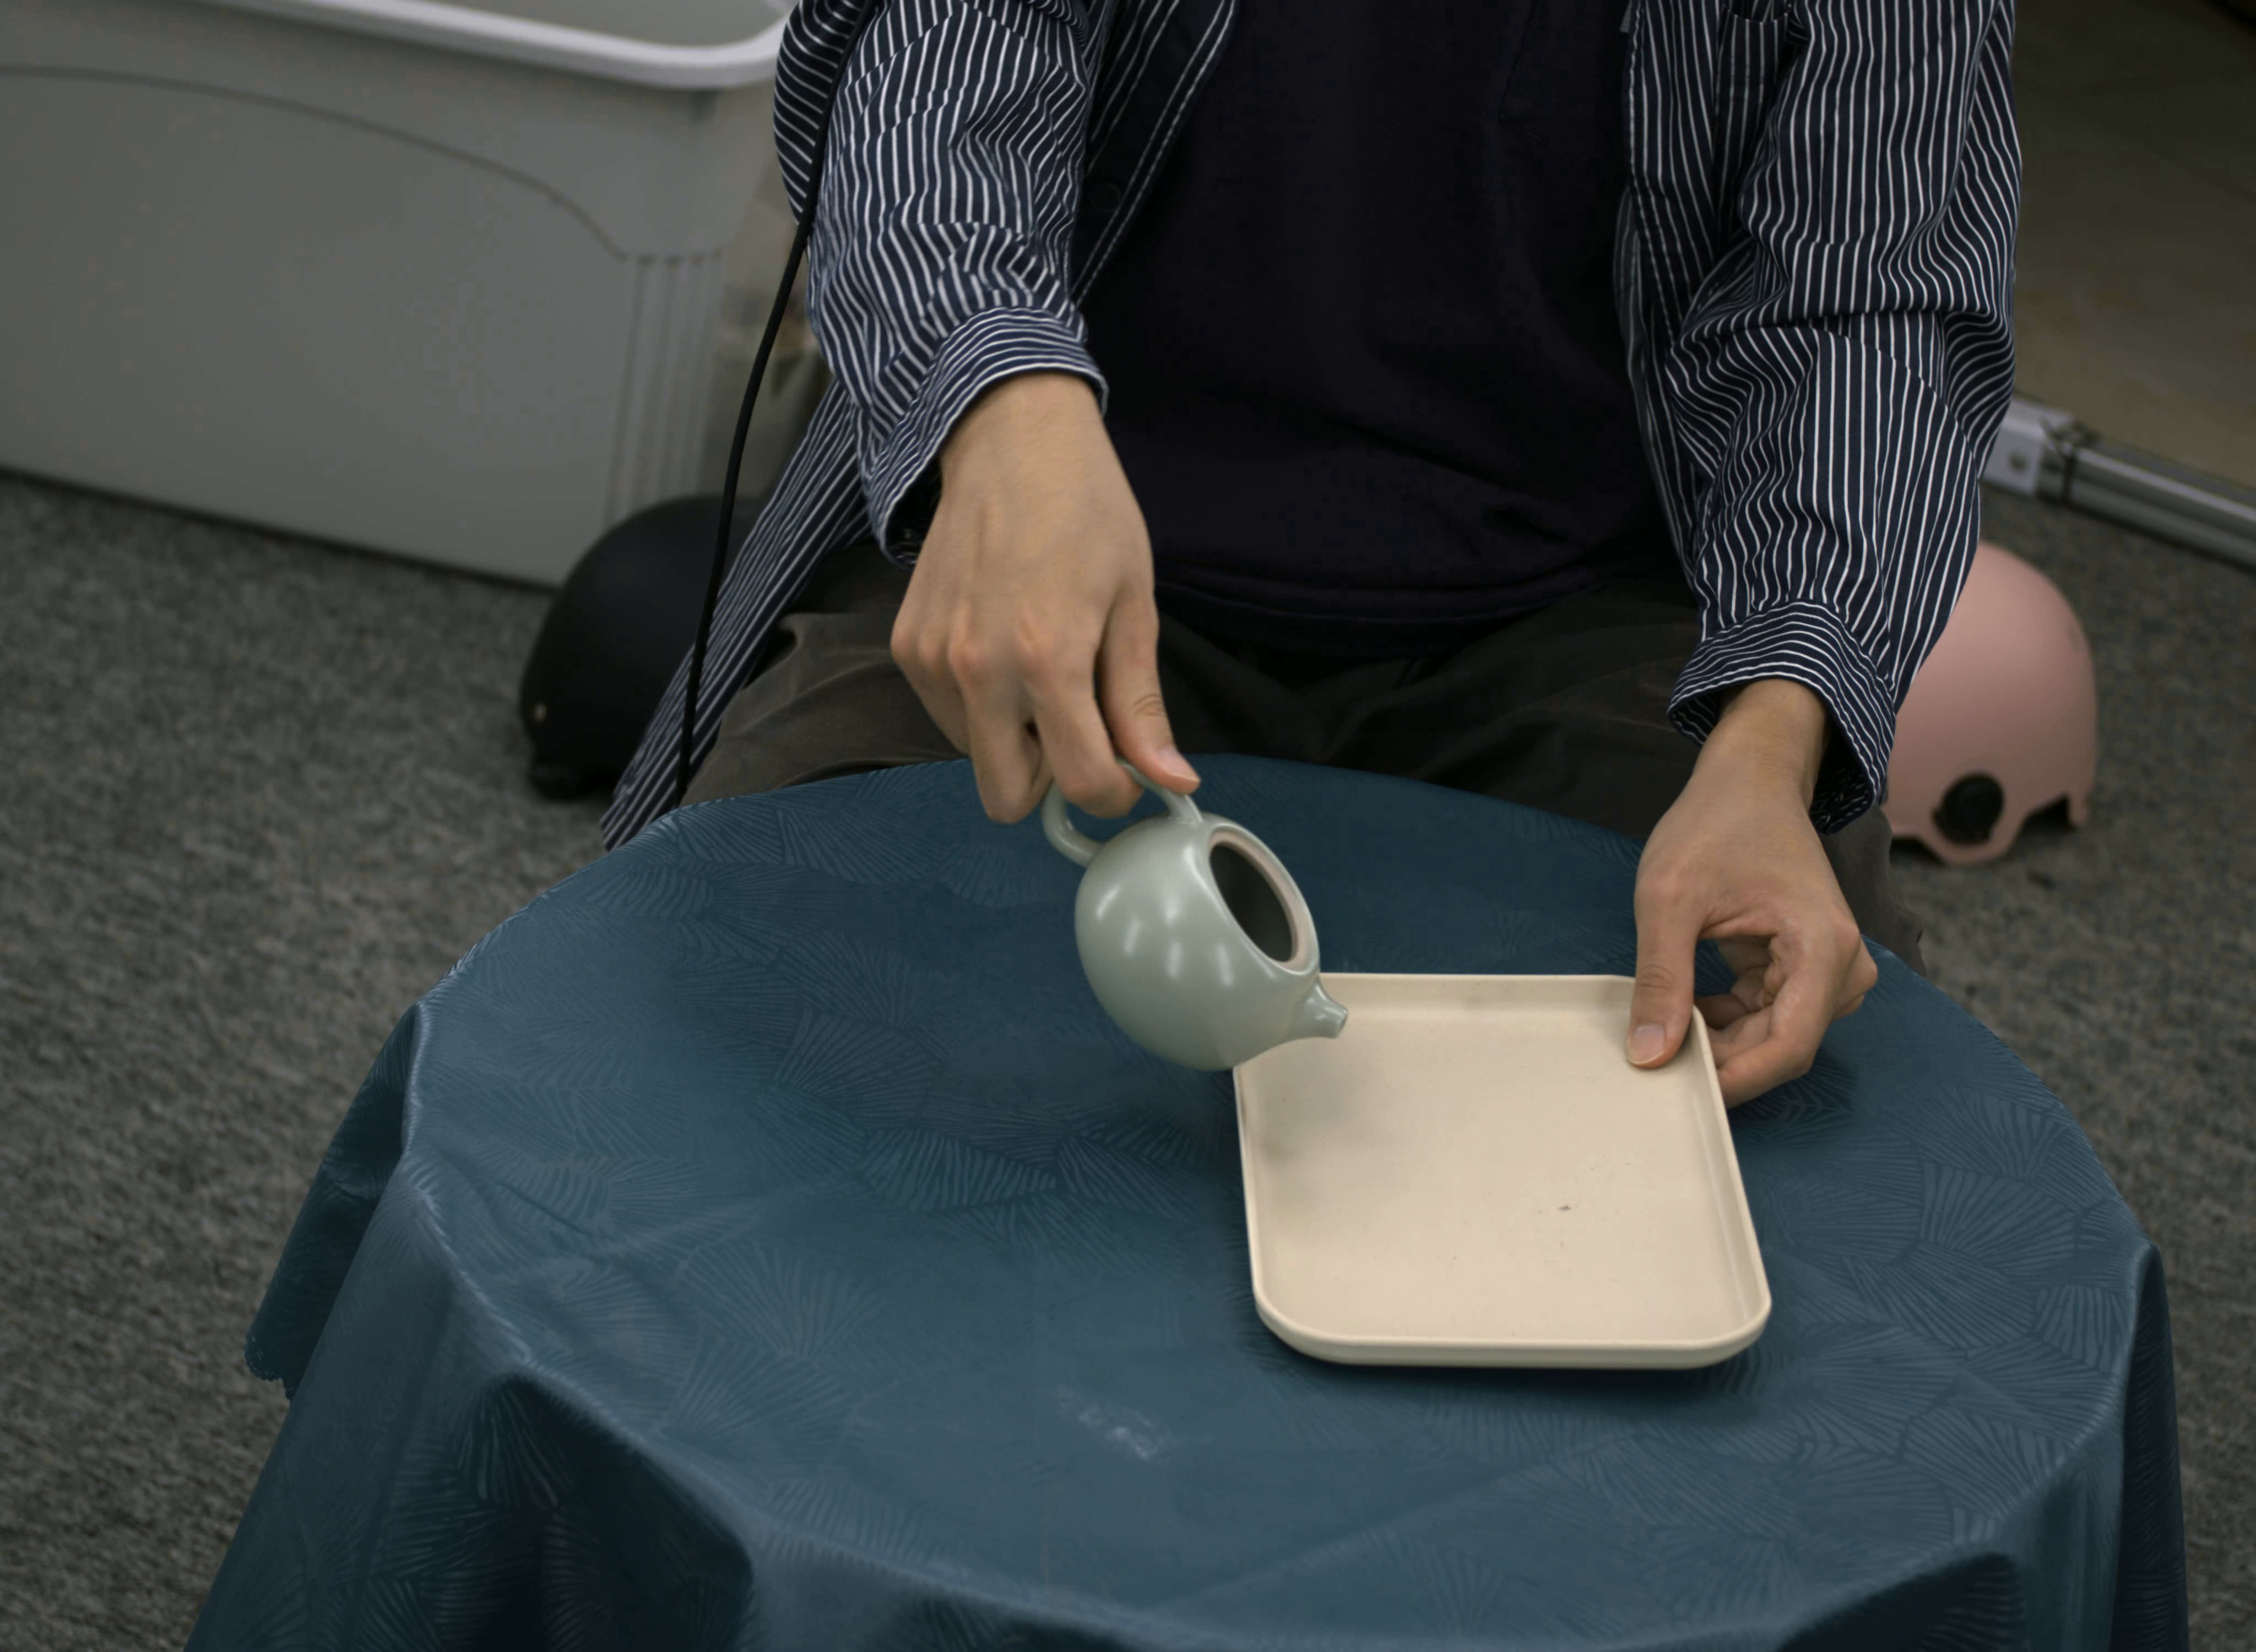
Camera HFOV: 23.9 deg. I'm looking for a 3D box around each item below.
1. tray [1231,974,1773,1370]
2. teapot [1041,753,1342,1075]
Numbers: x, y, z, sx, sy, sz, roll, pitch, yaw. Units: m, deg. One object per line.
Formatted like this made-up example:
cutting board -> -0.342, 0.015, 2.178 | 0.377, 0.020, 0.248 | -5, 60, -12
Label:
tray -> 0.122, 0.116, 1.808 | 0.171, 0.017, 0.241 | 1, 27, -2
teapot -> 0.016, 0.032, 1.803 | 0.128, 0.061, 0.091 | 56, 28, -1
